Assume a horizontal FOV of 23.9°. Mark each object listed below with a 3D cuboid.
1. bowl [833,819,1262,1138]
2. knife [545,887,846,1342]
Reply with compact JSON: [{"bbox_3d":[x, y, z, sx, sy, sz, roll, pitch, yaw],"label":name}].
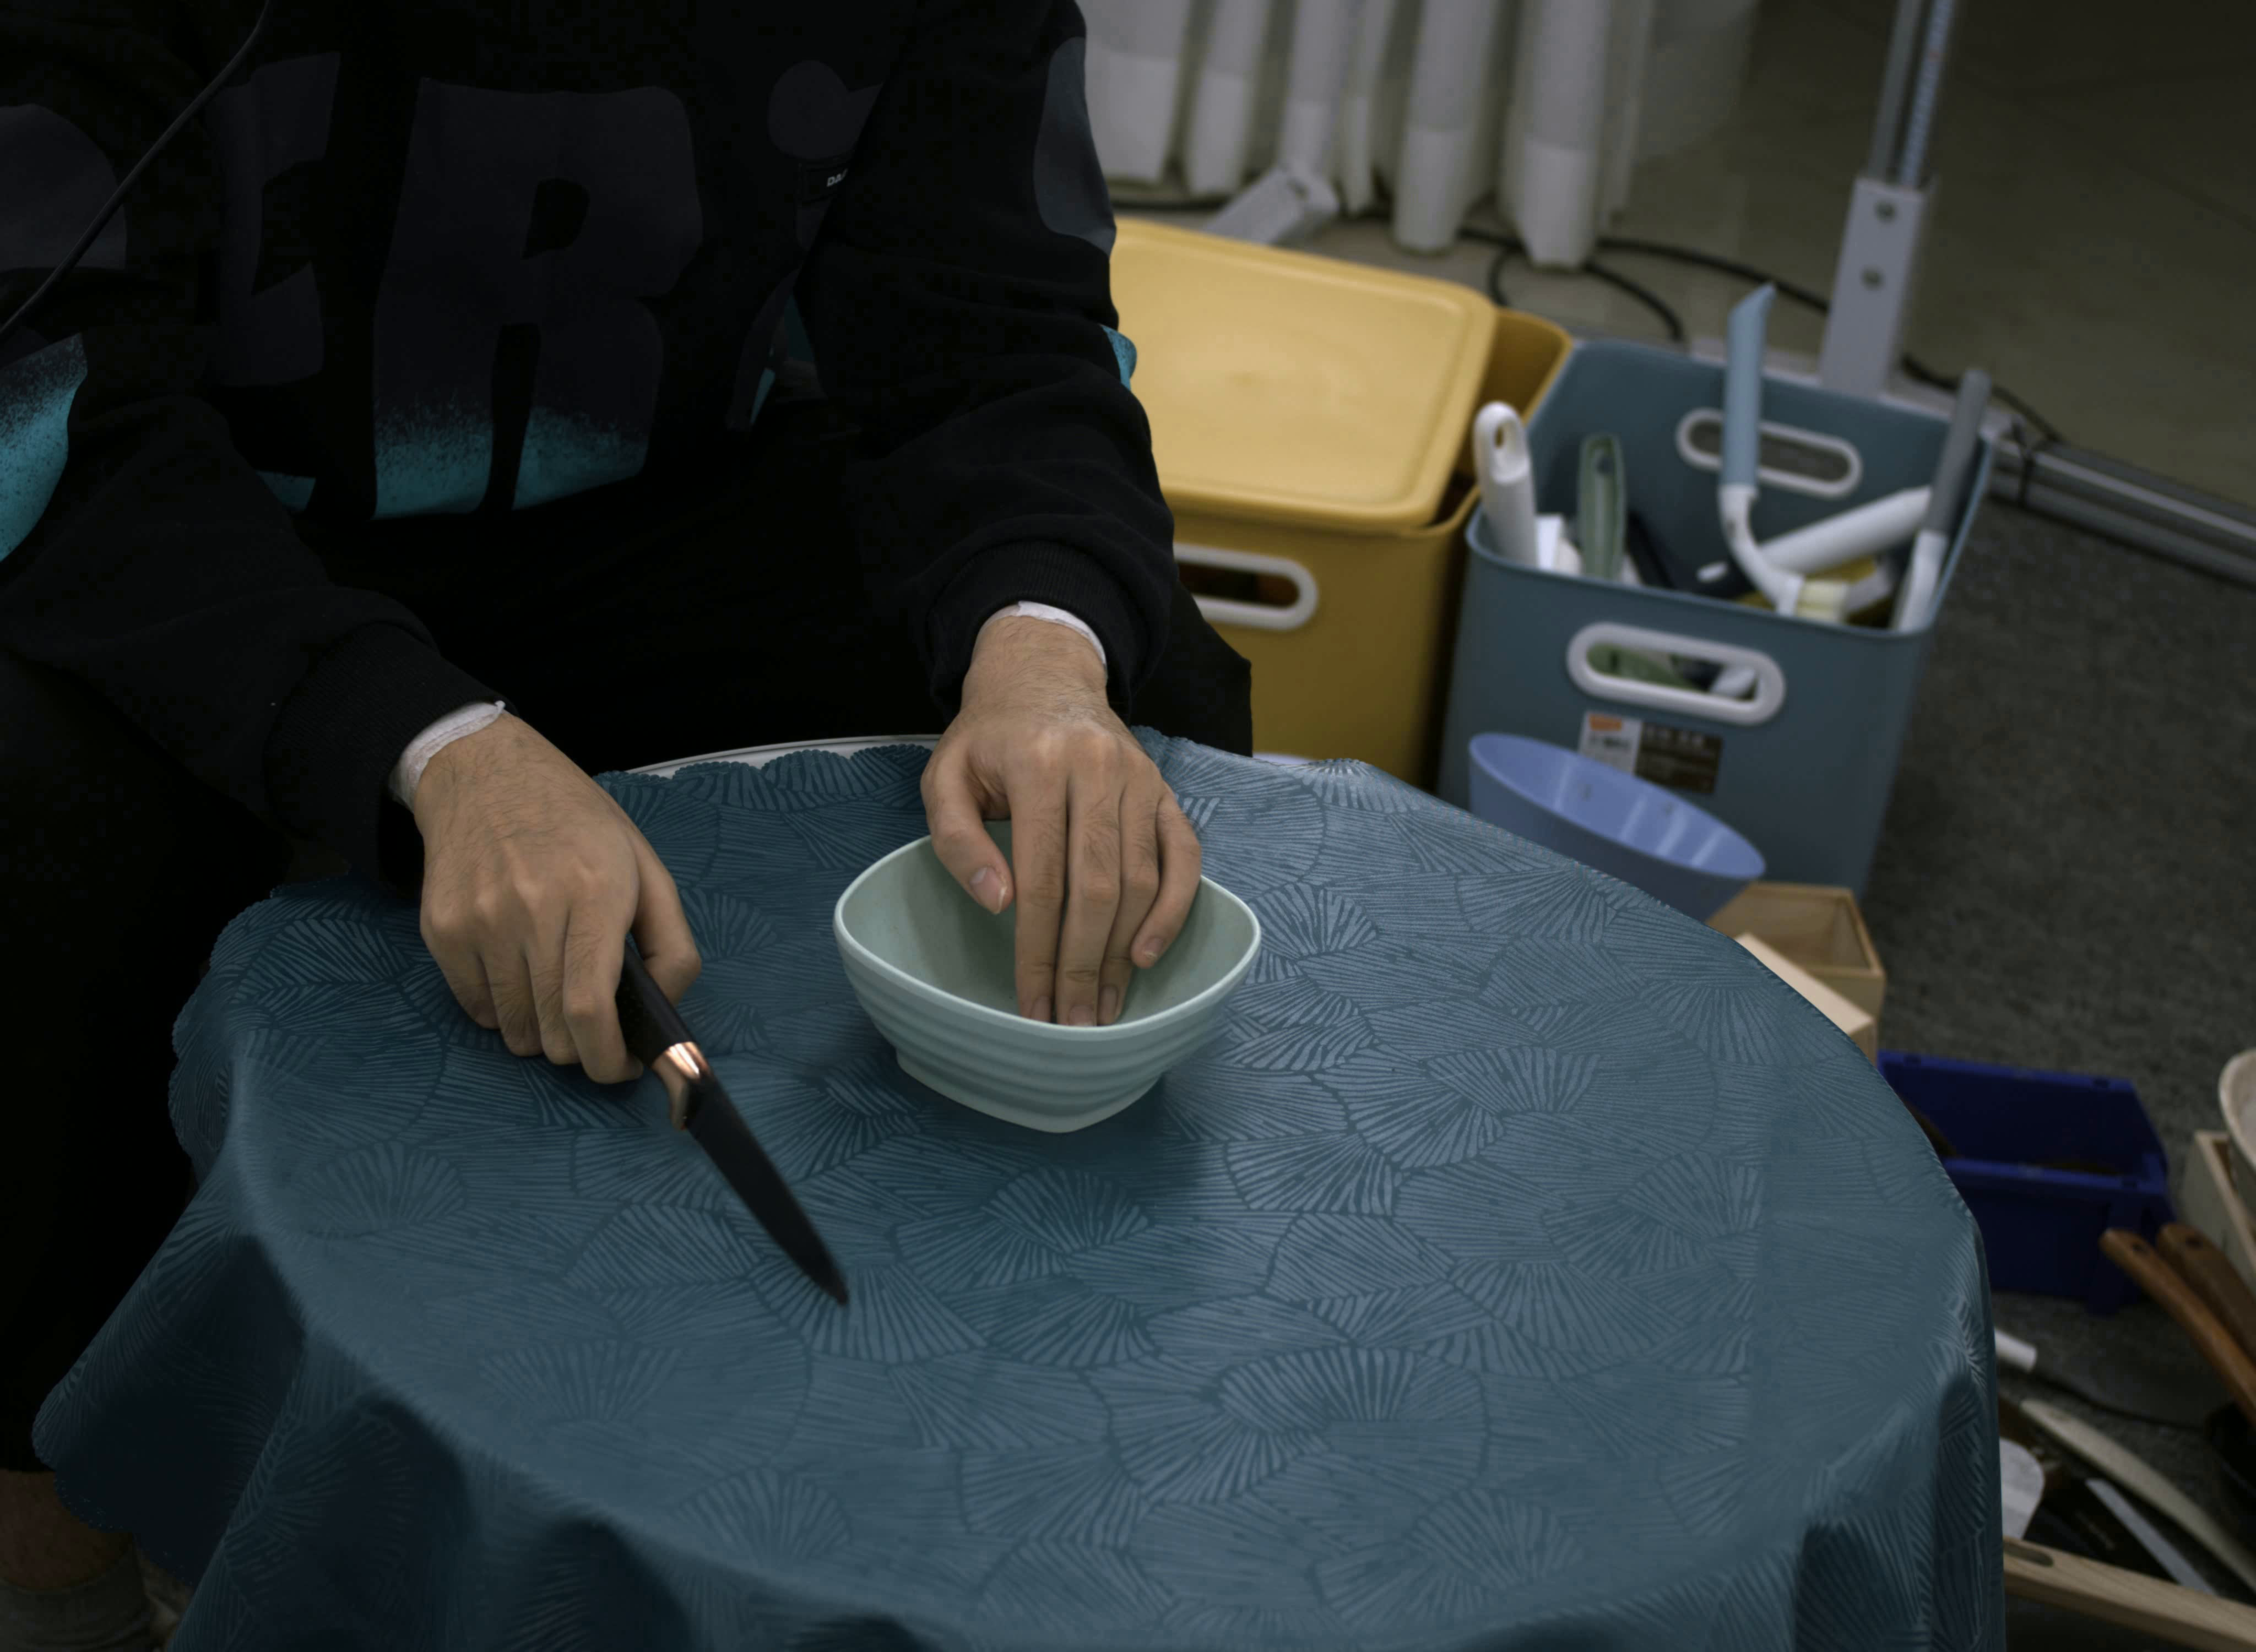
[{"bbox_3d":[-0.030,0.059,1.862,0.151,0.058,0.152,4,28,-3],"label":"bowl"},{"bbox_3d":[-0.144,0.094,1.788,0.017,0.026,0.227,14,27,-44],"label":"knife"}]
